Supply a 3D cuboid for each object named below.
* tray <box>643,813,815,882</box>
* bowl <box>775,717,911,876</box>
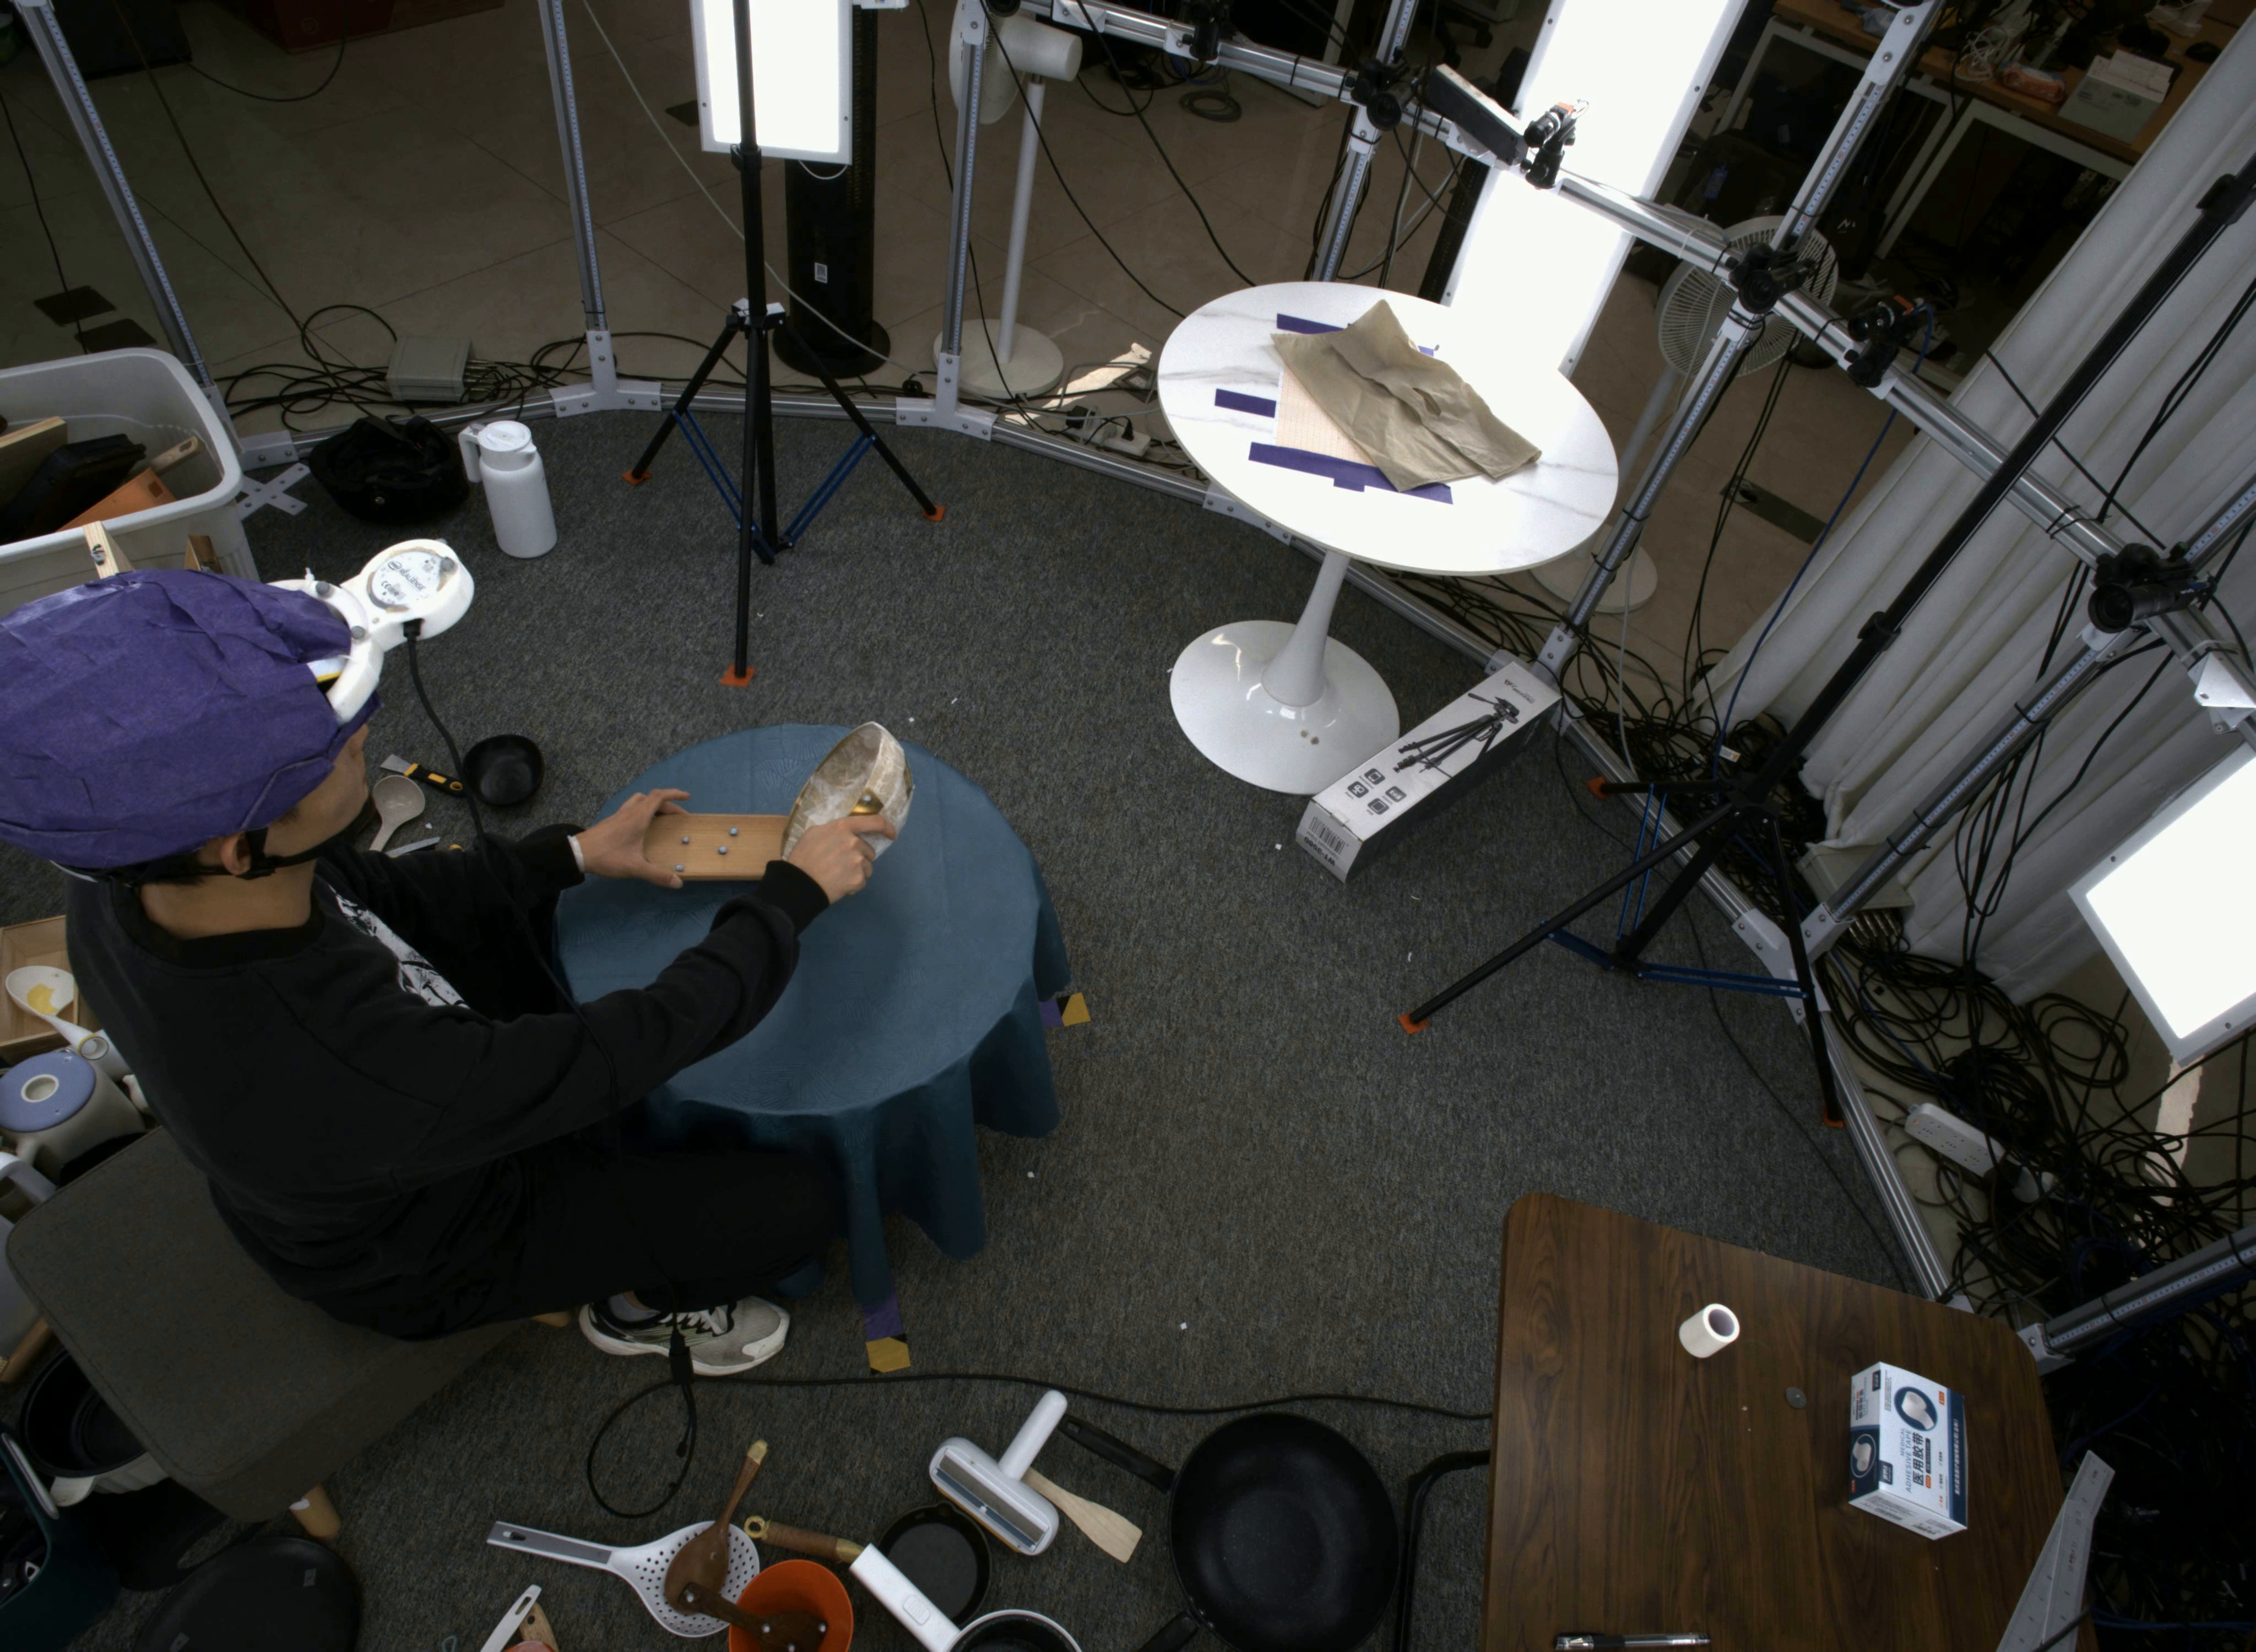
[{"bbox_3d":[-0.501,0.026,1.646,0.235,0.020,0.099,1,53,-34],"label":"tray"},{"bbox_3d":[-0.333,-0.020,1.587,0.097,0.212,0.211,34,43,-31],"label":"bowl"}]
